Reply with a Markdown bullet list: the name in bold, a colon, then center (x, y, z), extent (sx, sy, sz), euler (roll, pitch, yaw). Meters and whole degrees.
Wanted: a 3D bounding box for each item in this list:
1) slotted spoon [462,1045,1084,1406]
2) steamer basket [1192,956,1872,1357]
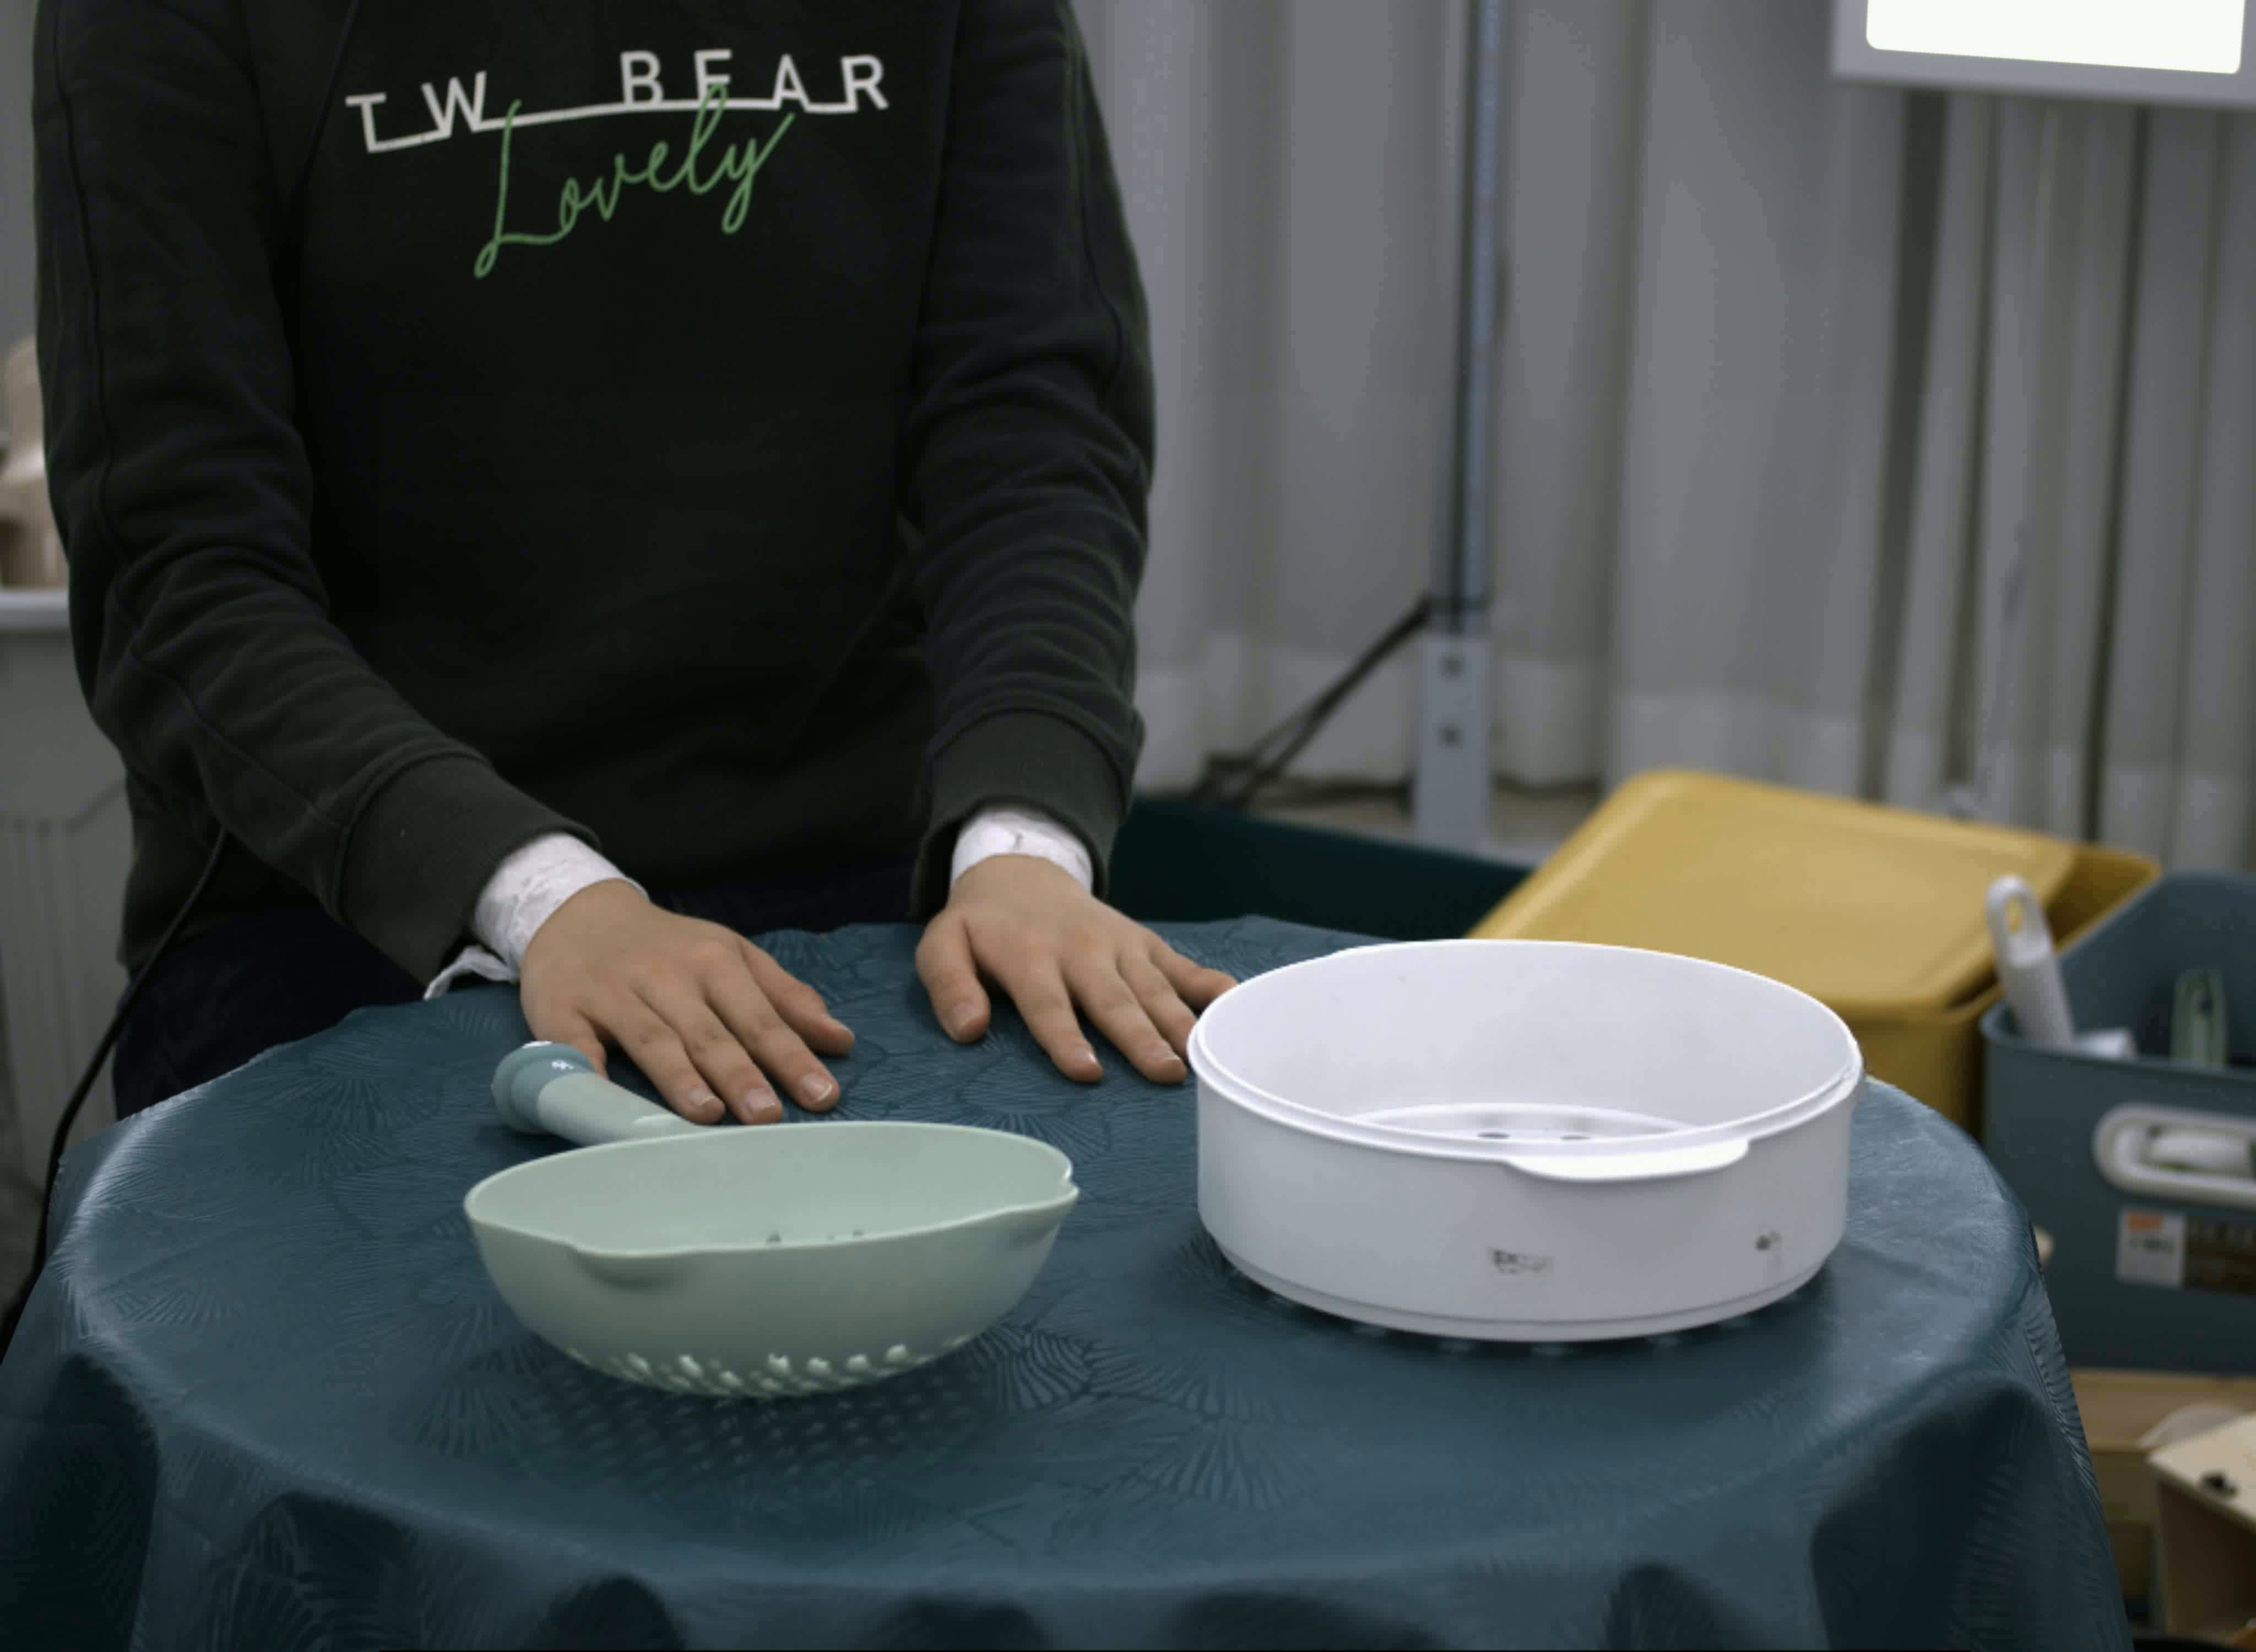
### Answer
- **slotted spoon**: center (-0.134, 0.101, 1.546), extent (0.170, 0.076, 0.355), euler (-5, 16, -21)
- **steamer basket**: center (0.119, 0.097, 1.568), extent (0.202, 0.070, 0.228), euler (-3, 16, -15)
